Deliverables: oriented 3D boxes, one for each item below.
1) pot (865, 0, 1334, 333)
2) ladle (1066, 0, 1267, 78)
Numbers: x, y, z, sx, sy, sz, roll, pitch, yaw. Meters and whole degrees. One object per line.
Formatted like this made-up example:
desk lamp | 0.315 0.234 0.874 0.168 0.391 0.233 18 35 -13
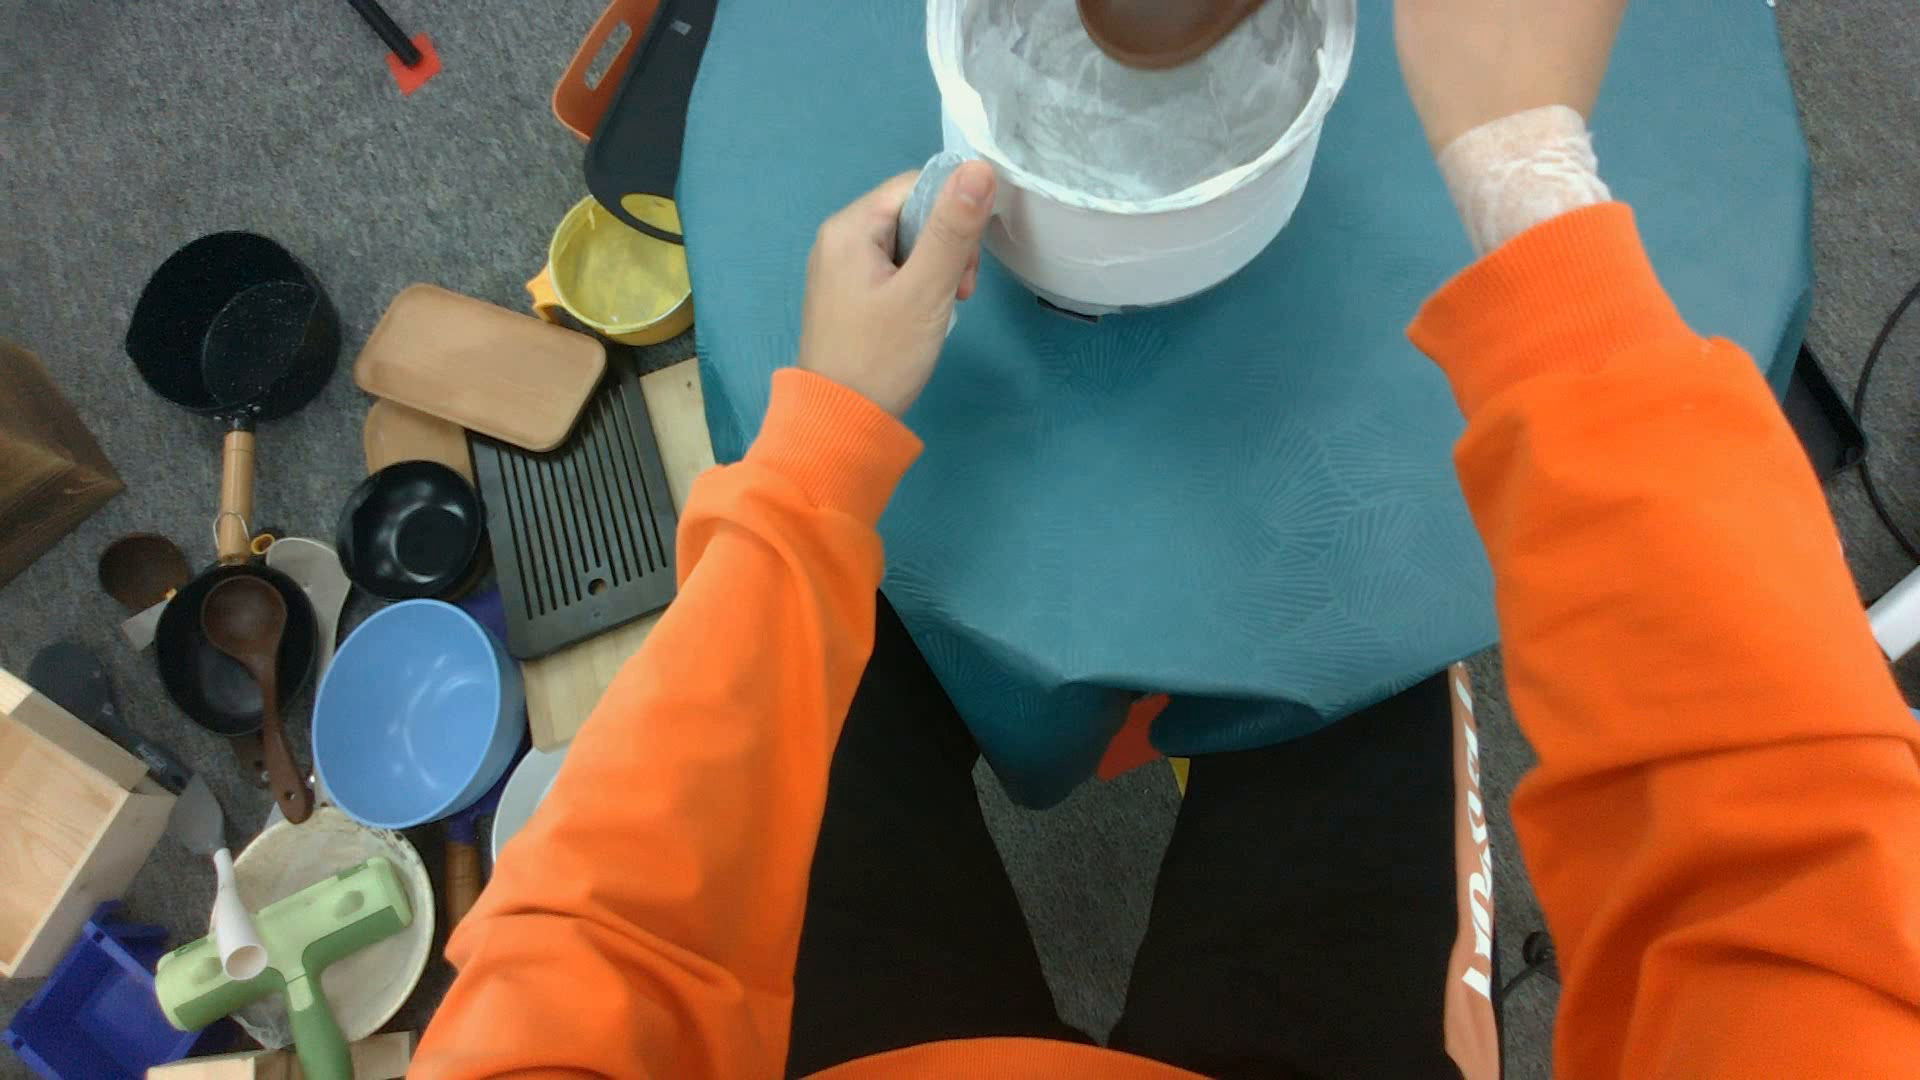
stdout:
pot | 0.050 -0.191 0.633 0.234 0.136 0.179 -42 78 -6
ladle | 0.139 -0.245 0.511 0.065 0.259 0.076 2 83 -34
